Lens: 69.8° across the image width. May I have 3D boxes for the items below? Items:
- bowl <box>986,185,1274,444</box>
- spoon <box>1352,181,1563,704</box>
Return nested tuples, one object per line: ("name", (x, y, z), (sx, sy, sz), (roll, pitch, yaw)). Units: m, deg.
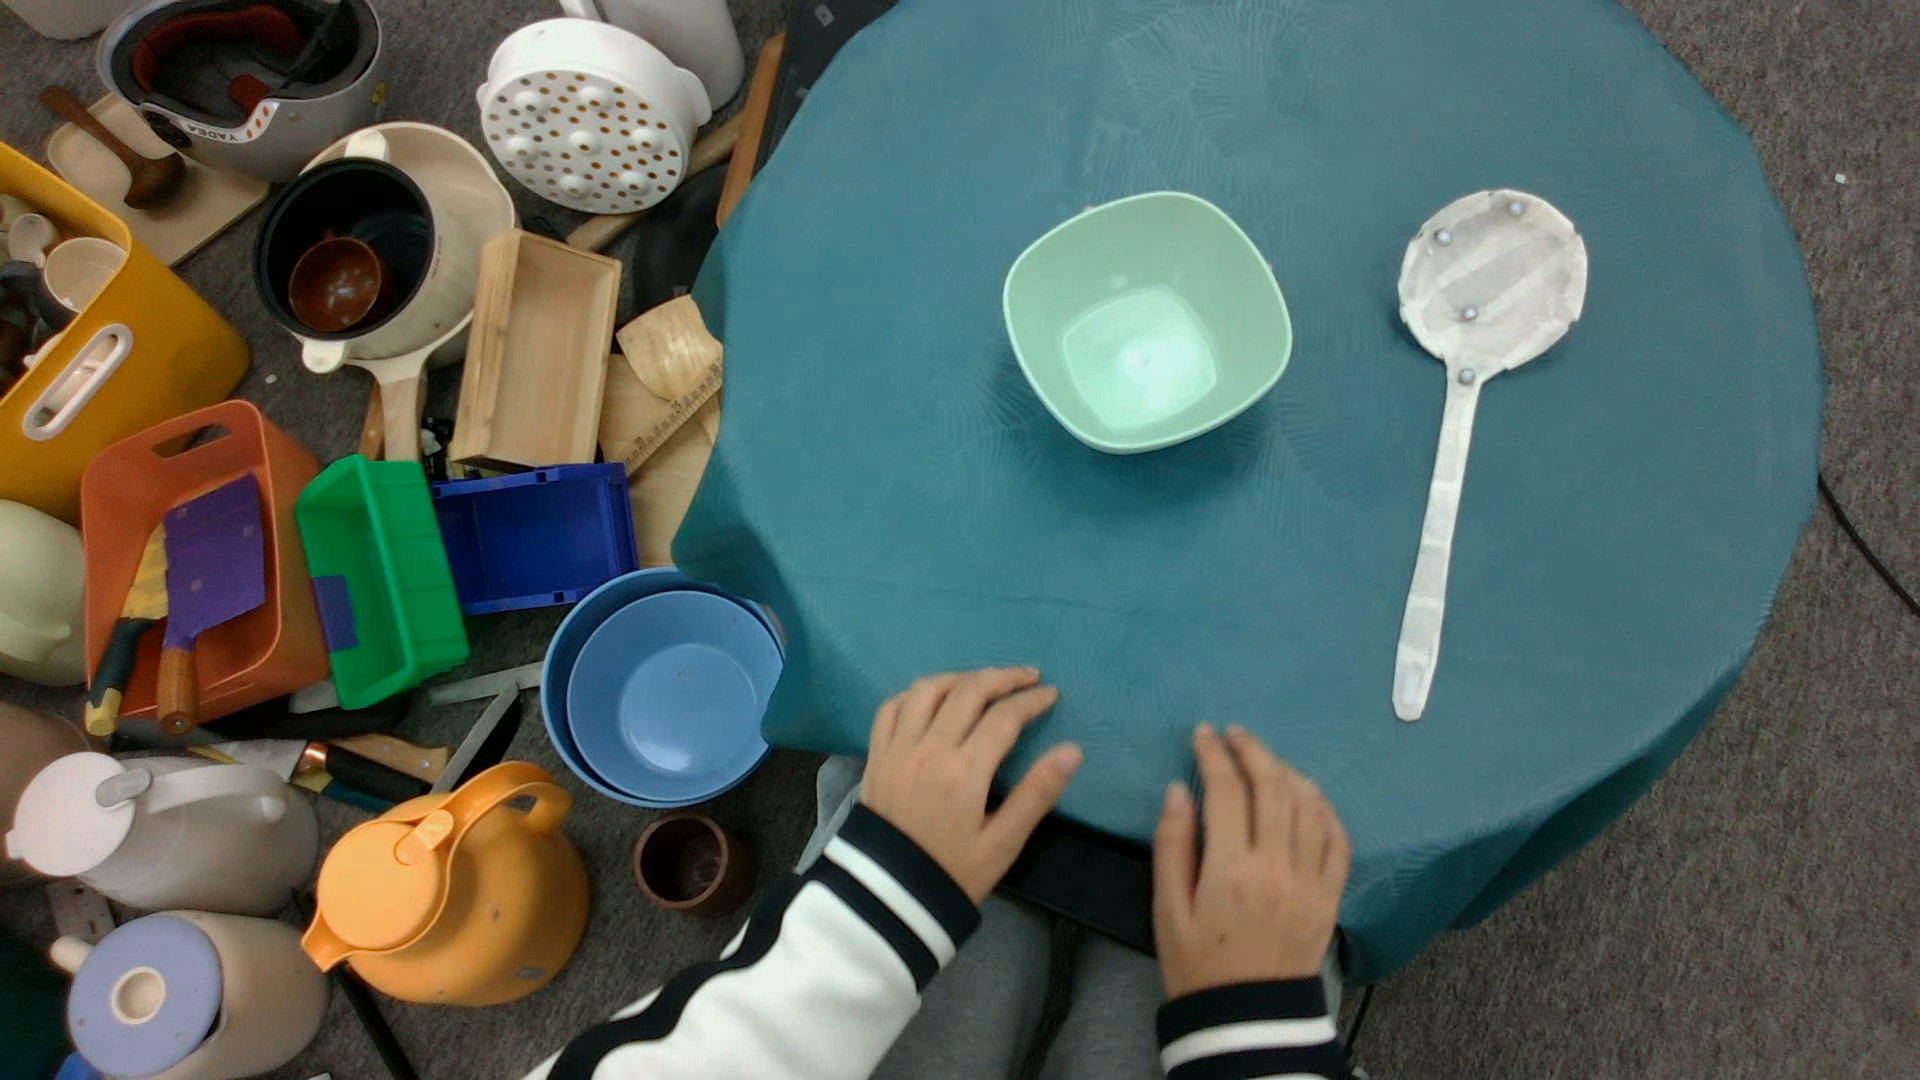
("bowl", (0.088, -0.111, 0.733), (0.151, 0.058, 0.152), (-1, 70, 2))
("spoon", (0.237, -0.054, 0.706), (0.100, 0.059, 0.278), (15, 72, 12))
